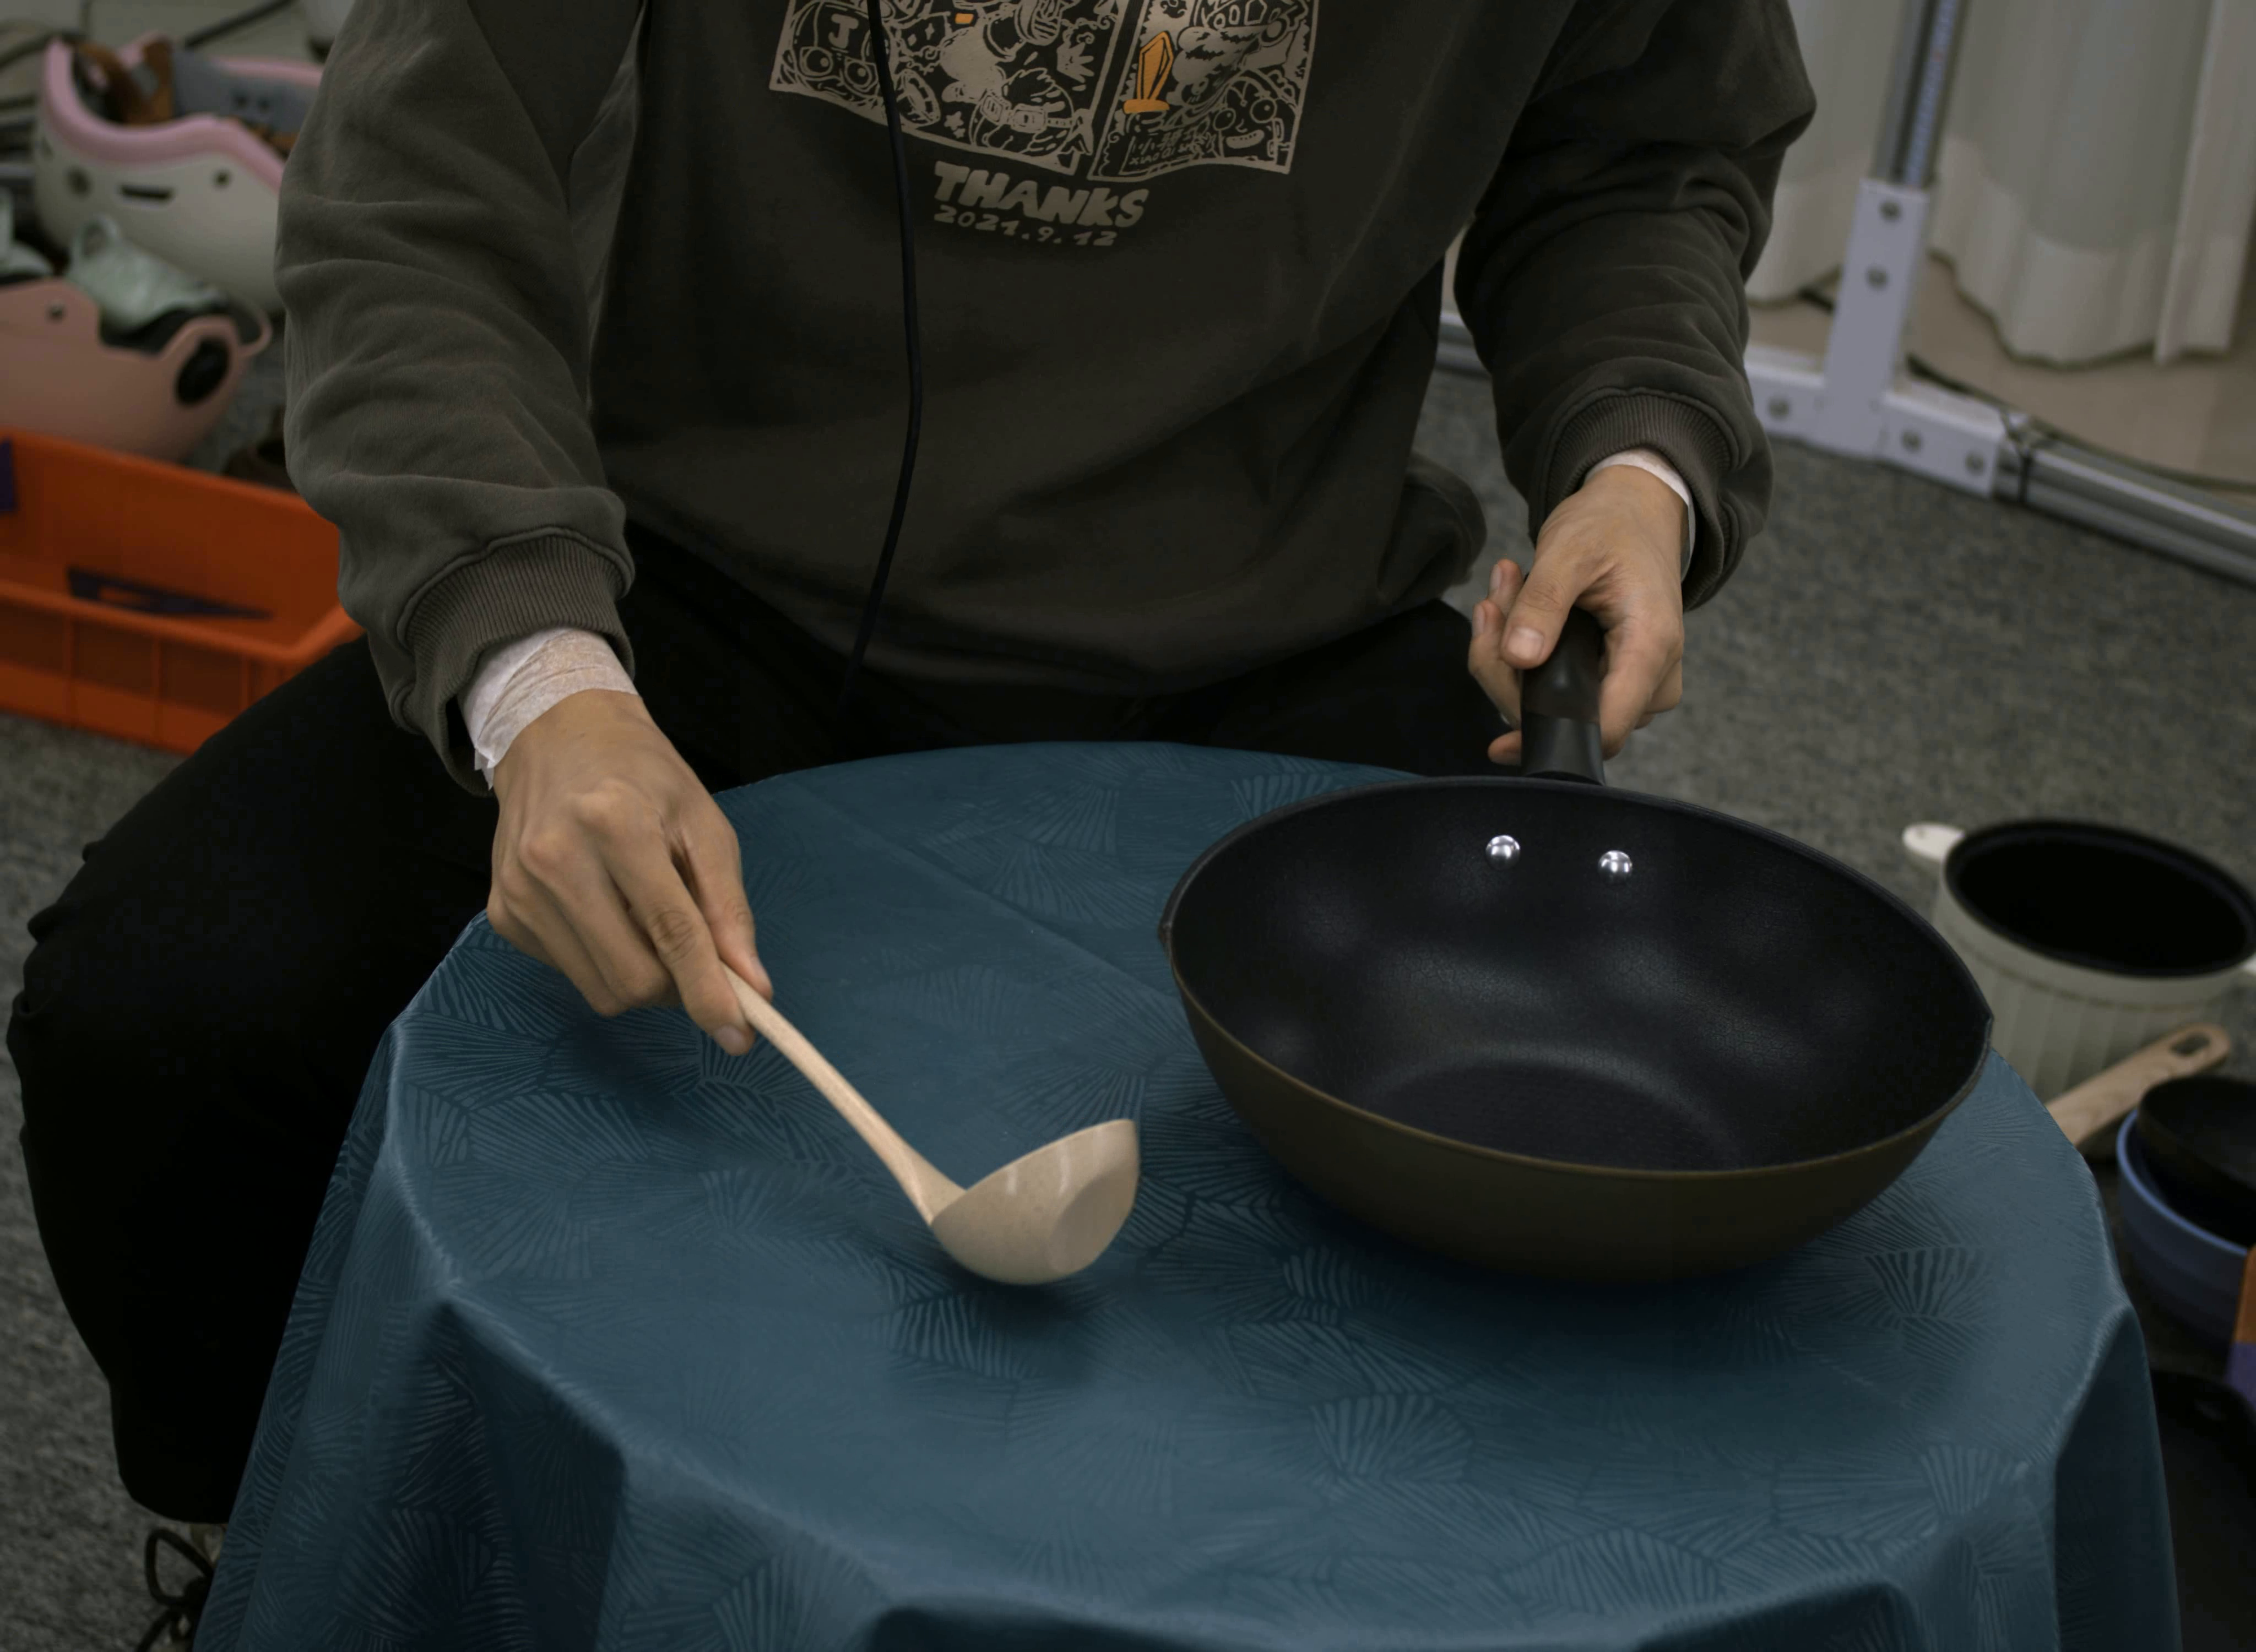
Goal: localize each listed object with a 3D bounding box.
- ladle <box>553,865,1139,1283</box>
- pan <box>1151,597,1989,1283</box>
[{"bbox_3d":[-0.098,0.058,1.764,0.256,0.072,0.072,39,35,28],"label":"ladle"},{"bbox_3d":[0.152,0.041,1.910,0.287,0.086,0.466,7,26,0],"label":"pan"}]
